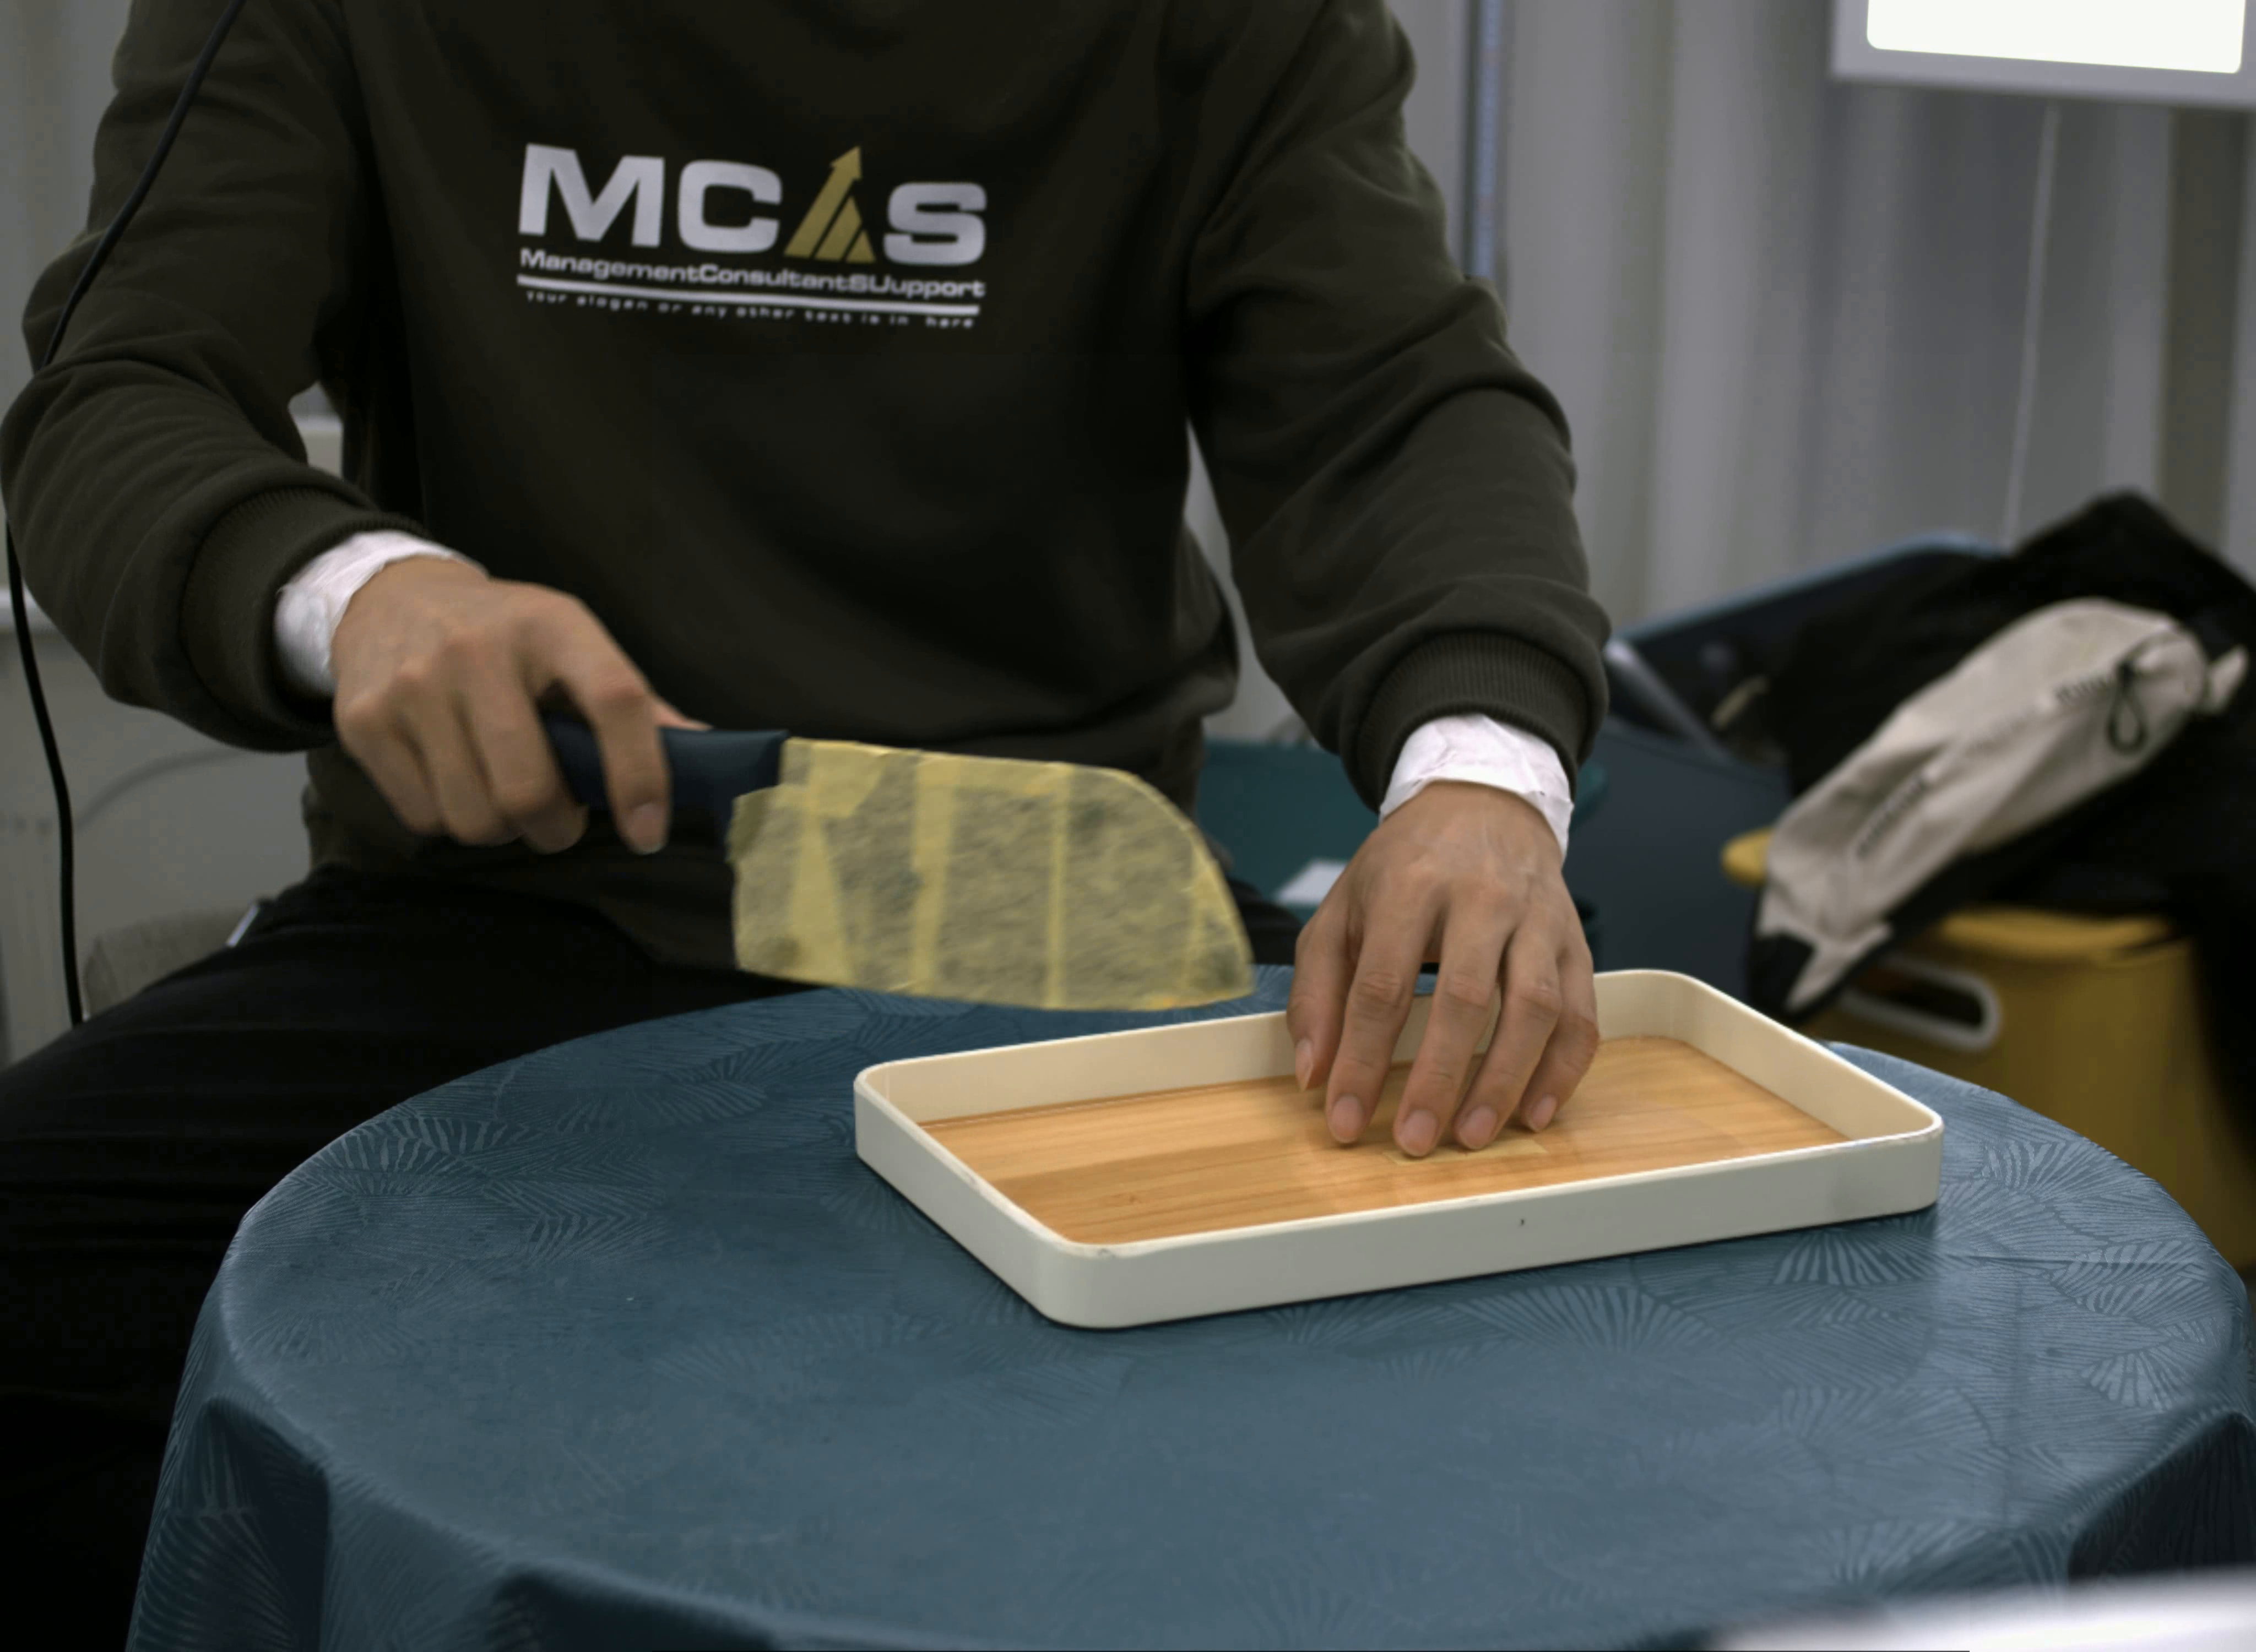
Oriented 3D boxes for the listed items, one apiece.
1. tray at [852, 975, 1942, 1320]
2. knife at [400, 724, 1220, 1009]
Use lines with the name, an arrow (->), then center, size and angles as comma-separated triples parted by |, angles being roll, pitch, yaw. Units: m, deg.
tray -> 0.082, 0.096, 1.636 | 0.301, 0.027, 0.189 | -6, 15, -23
knife -> -0.098, 0.010, 1.563 | 0.286, 0.081, 0.027 | 9, 4, 28
